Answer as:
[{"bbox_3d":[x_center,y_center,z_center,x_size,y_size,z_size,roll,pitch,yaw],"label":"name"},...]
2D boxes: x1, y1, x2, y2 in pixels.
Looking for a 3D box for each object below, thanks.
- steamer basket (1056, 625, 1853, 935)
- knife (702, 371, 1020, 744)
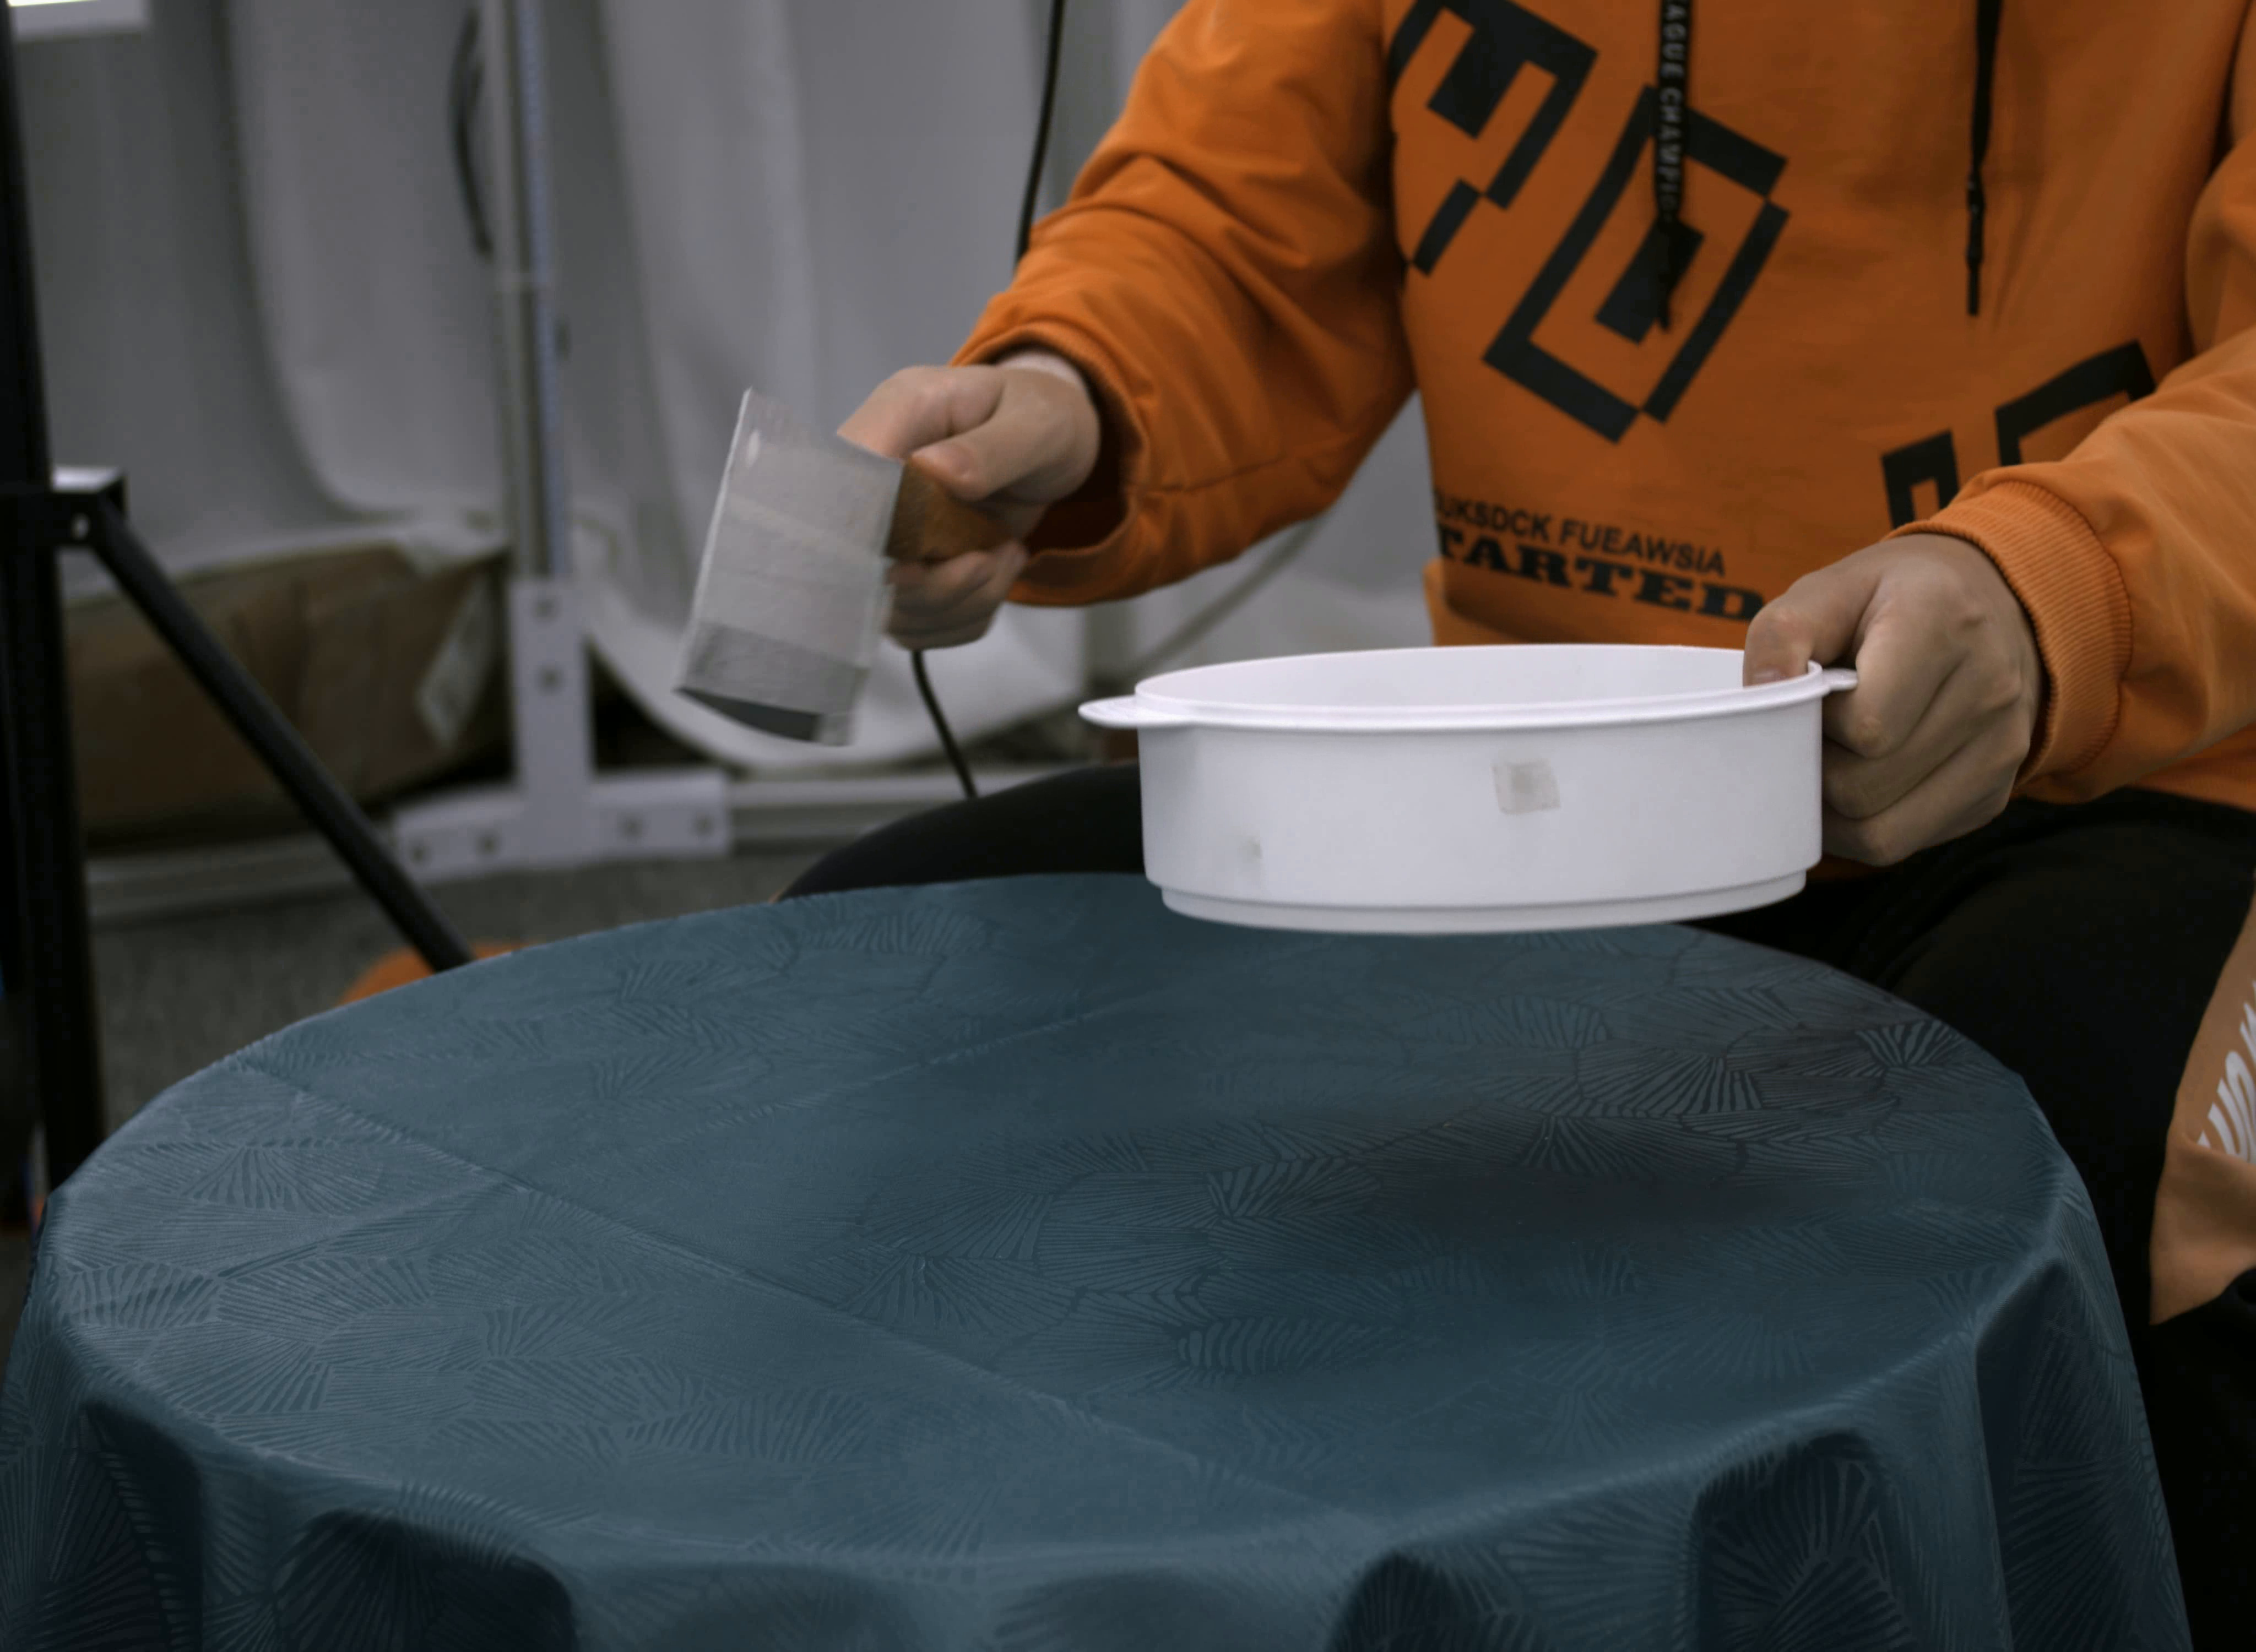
[{"bbox_3d":[0.095,-0.013,1.516,0.227,0.069,0.204,-6,7,-11],"label":"steamer basket"},{"bbox_3d":[-0.083,-0.074,1.648,0.021,0.093,0.302,10,-2,13],"label":"knife"}]
